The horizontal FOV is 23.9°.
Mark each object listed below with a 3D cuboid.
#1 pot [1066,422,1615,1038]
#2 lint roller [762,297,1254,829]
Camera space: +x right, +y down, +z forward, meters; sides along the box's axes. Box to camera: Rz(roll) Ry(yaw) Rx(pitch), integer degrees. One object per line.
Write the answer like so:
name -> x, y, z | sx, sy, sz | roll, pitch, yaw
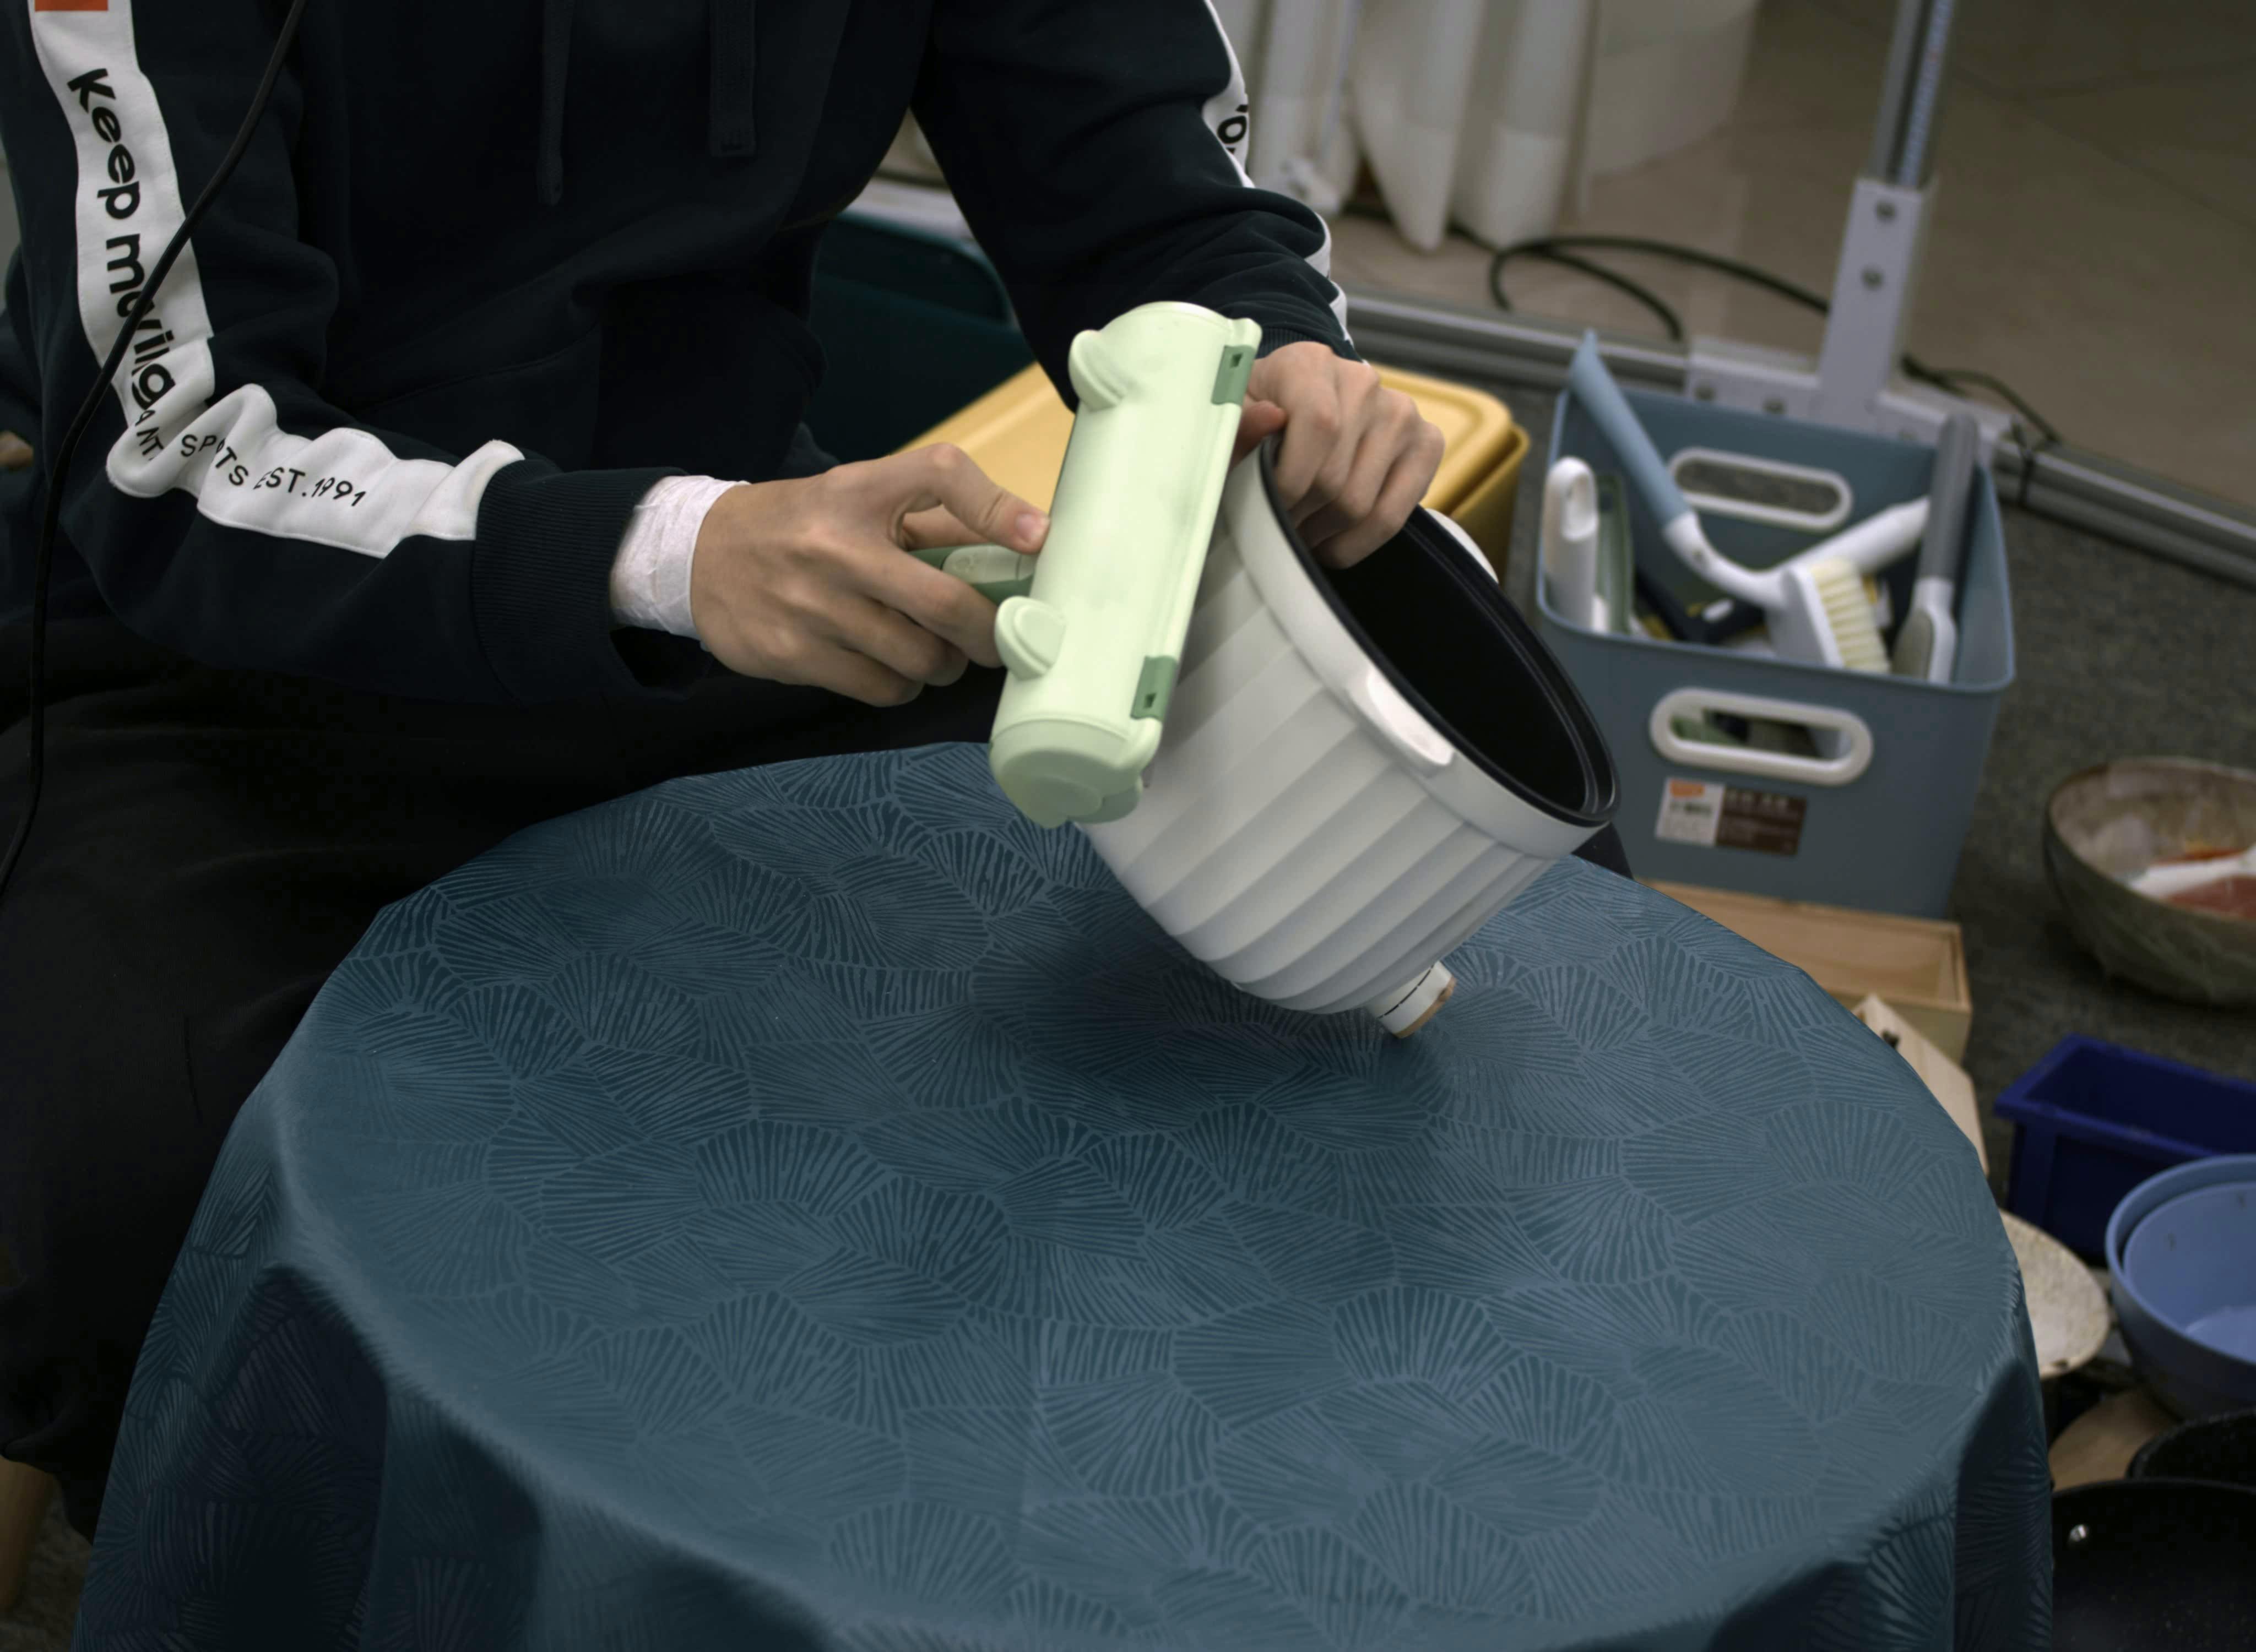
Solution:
pot -> 0.066, -0.026, 1.888 | 0.190, 0.142, 0.241 | 42, 21, -6
lint roller -> -0.056, -0.092, 1.823 | 0.184, 0.081, 0.200 | -3, 53, 25
